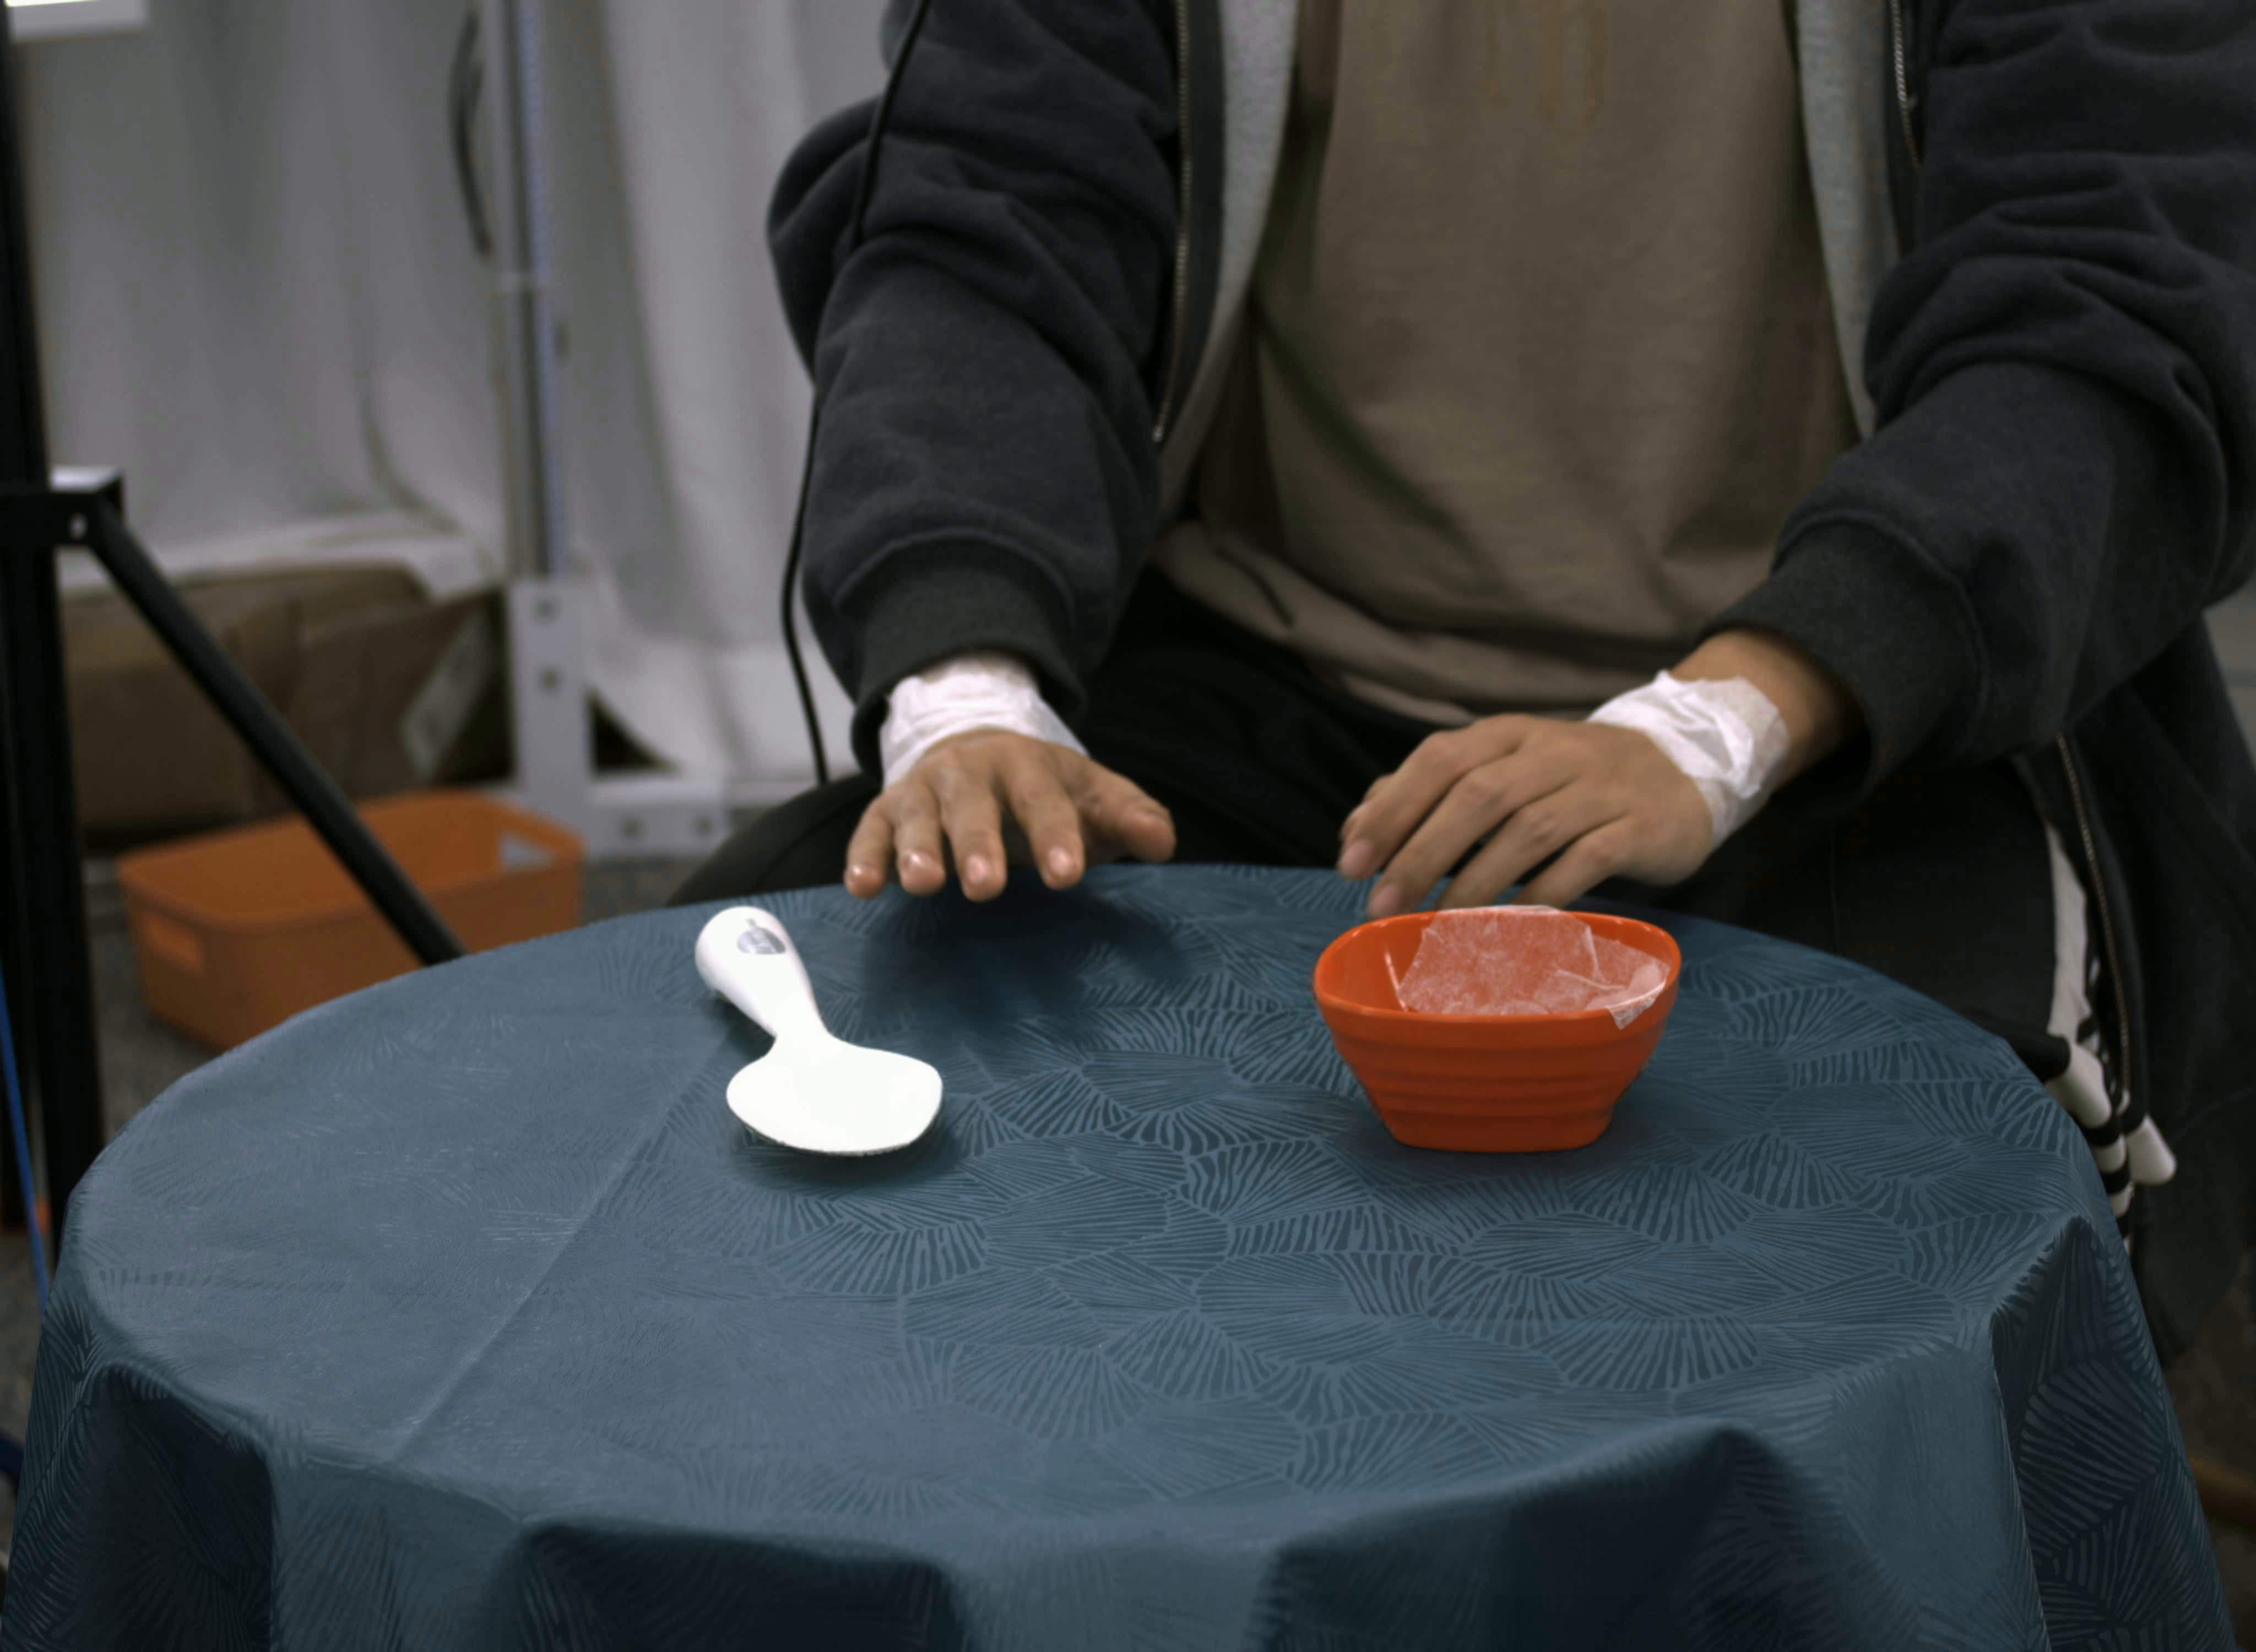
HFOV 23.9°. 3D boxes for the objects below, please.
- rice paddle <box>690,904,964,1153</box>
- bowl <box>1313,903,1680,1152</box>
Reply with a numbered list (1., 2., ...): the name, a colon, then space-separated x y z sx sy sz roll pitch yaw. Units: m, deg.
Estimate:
1. rice paddle: -0.101 0.066 1.671 0.068 0.029 0.208 -8 17 -14
2. bowl: 0.112 0.063 1.602 0.118 0.051 0.119 -3 17 -1
